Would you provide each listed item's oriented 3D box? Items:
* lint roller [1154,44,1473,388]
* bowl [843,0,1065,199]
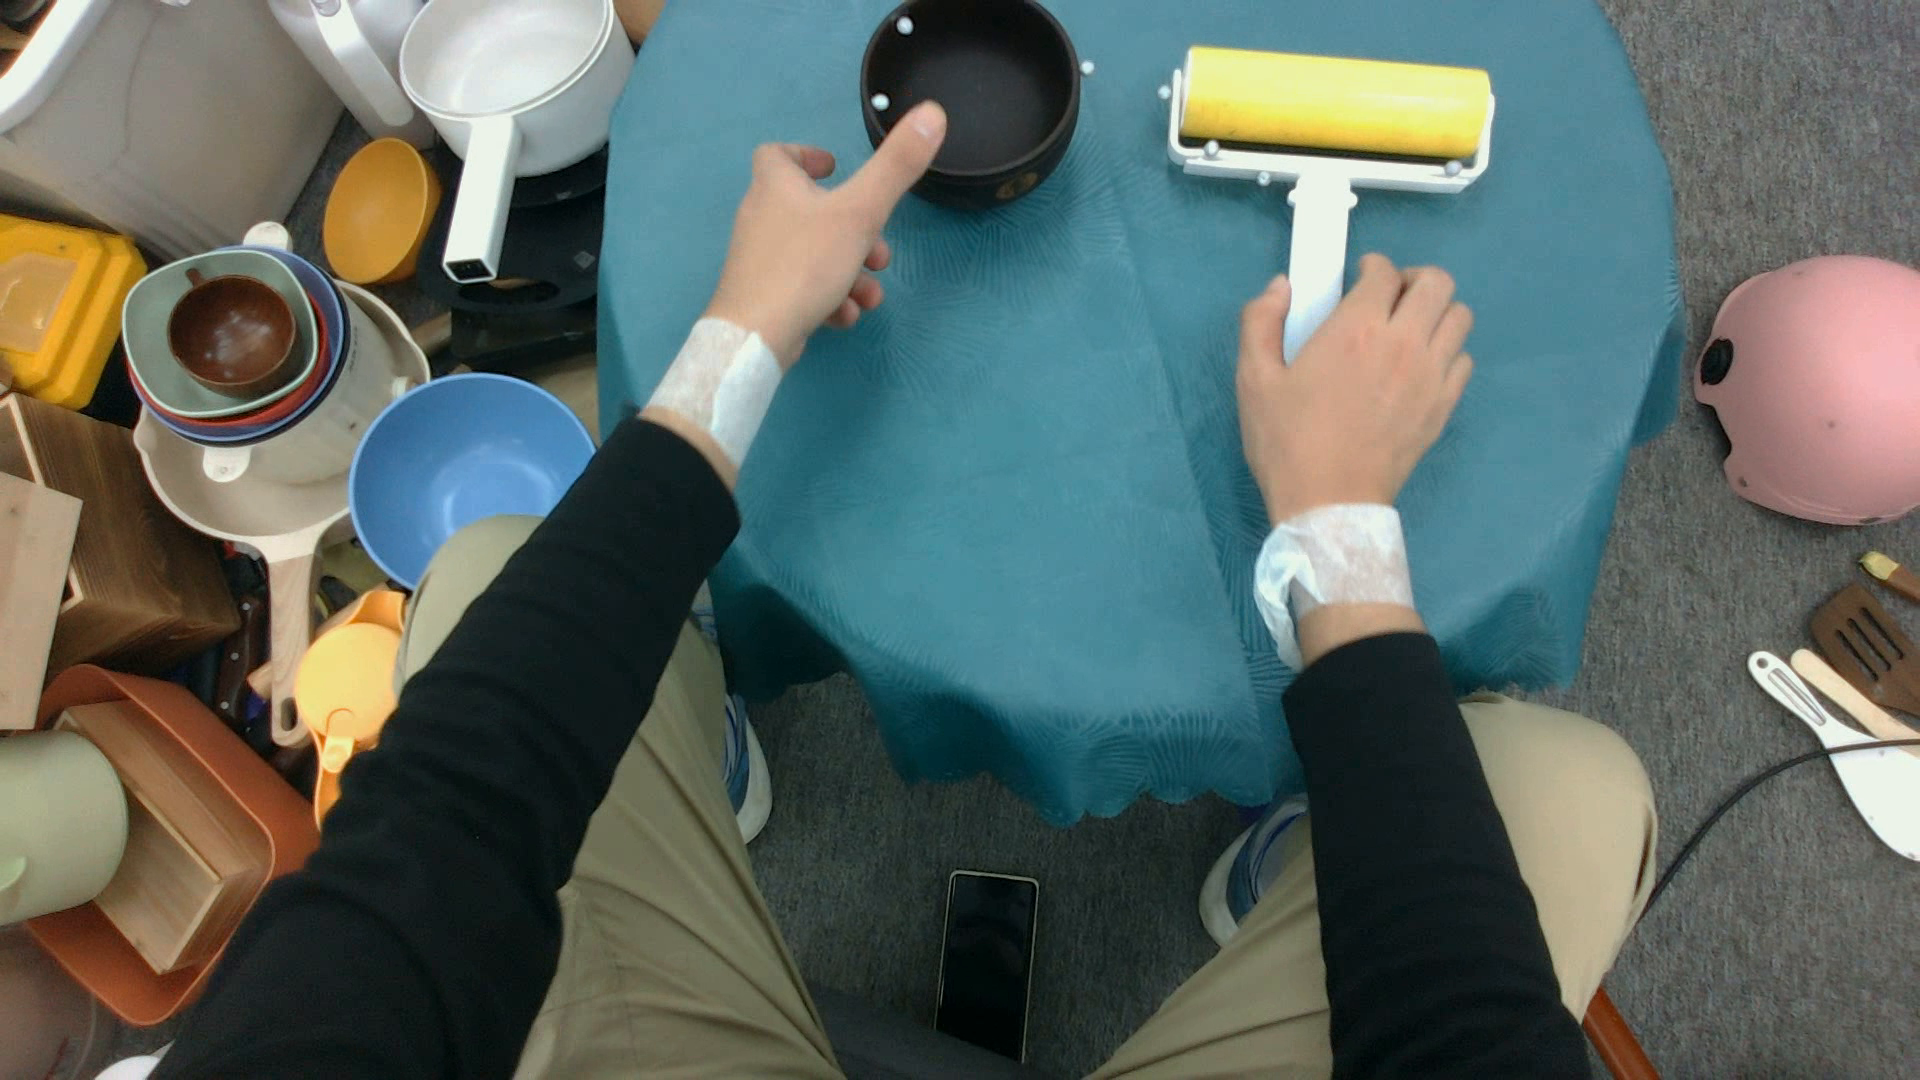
[{"bbox_3d":[0.191,-0.180,0.747,0.174,0.051,0.192,3,71,1],"label":"lint roller"},{"bbox_3d":[-0.003,-0.239,0.750,0.118,0.069,0.118,0,75,0],"label":"bowl"}]
